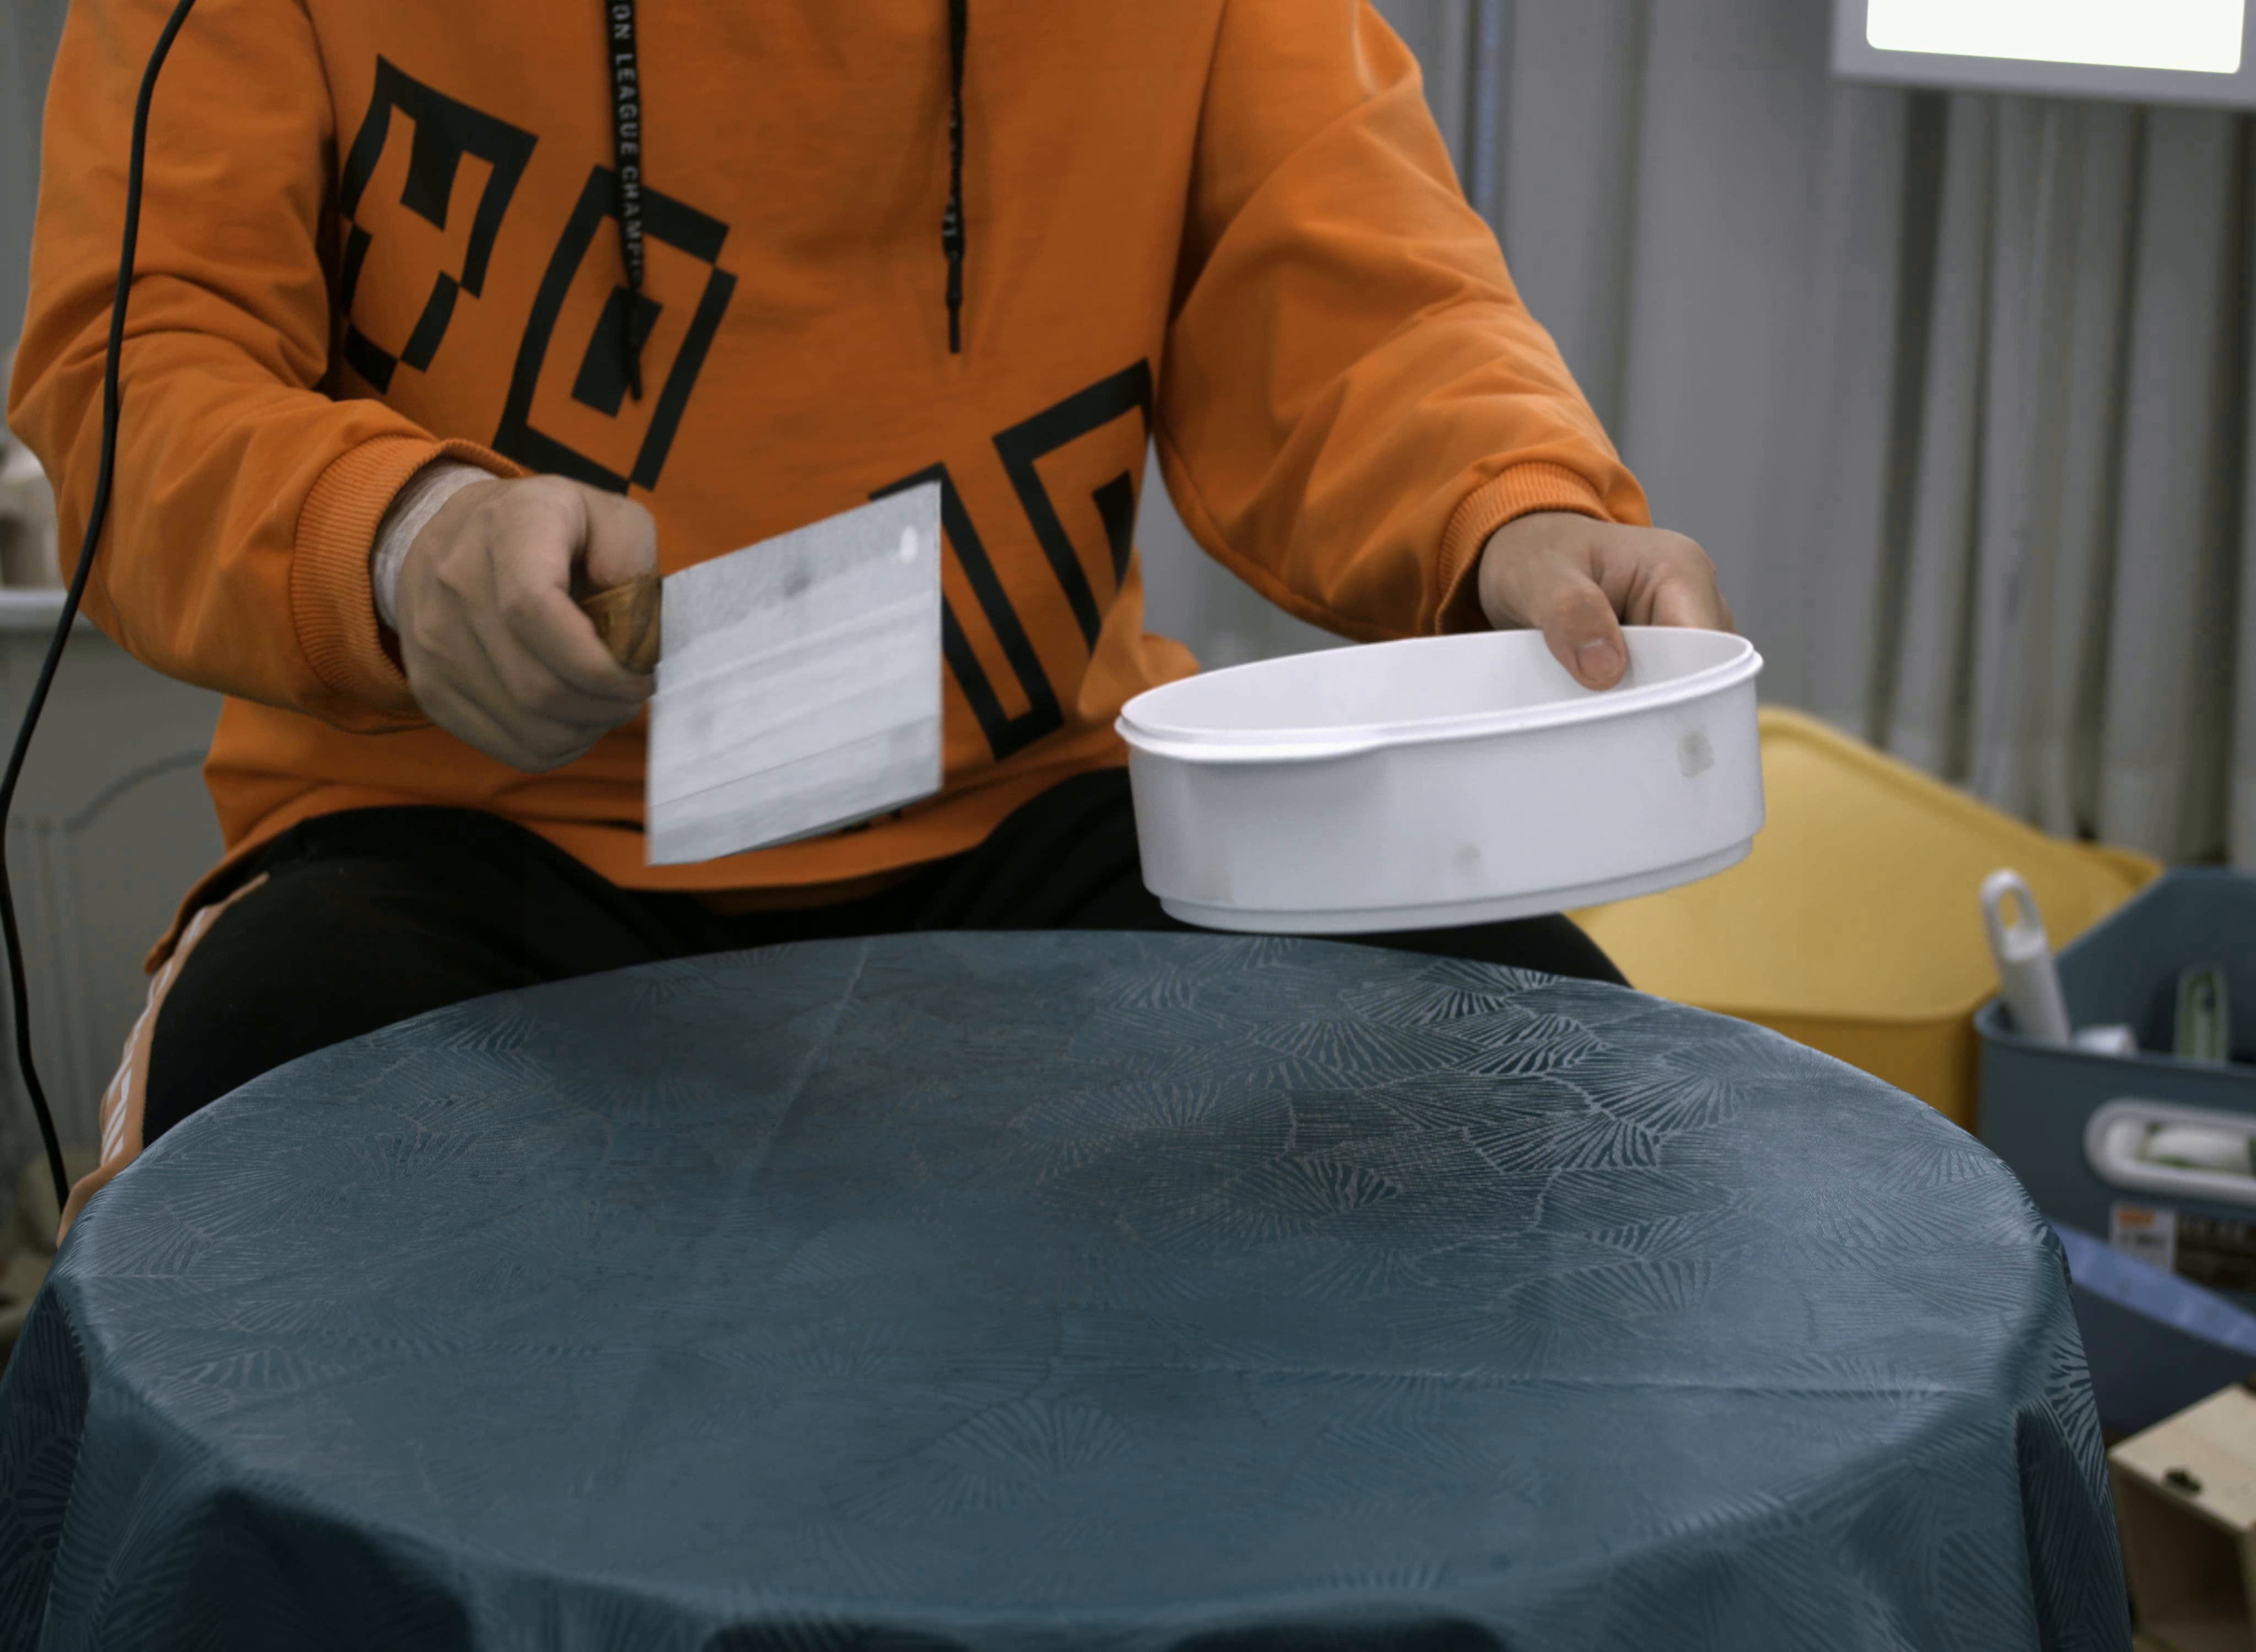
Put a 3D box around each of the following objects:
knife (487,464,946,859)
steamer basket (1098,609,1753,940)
[{"bbox_3d":[-0.127,-0.040,1.586,0.021,0.093,0.303,0,-7,-30],"label":"knife"},{"bbox_3d":[0.094,-0.016,1.623,0.199,0.070,0.231,-1,13,33],"label":"steamer basket"}]
